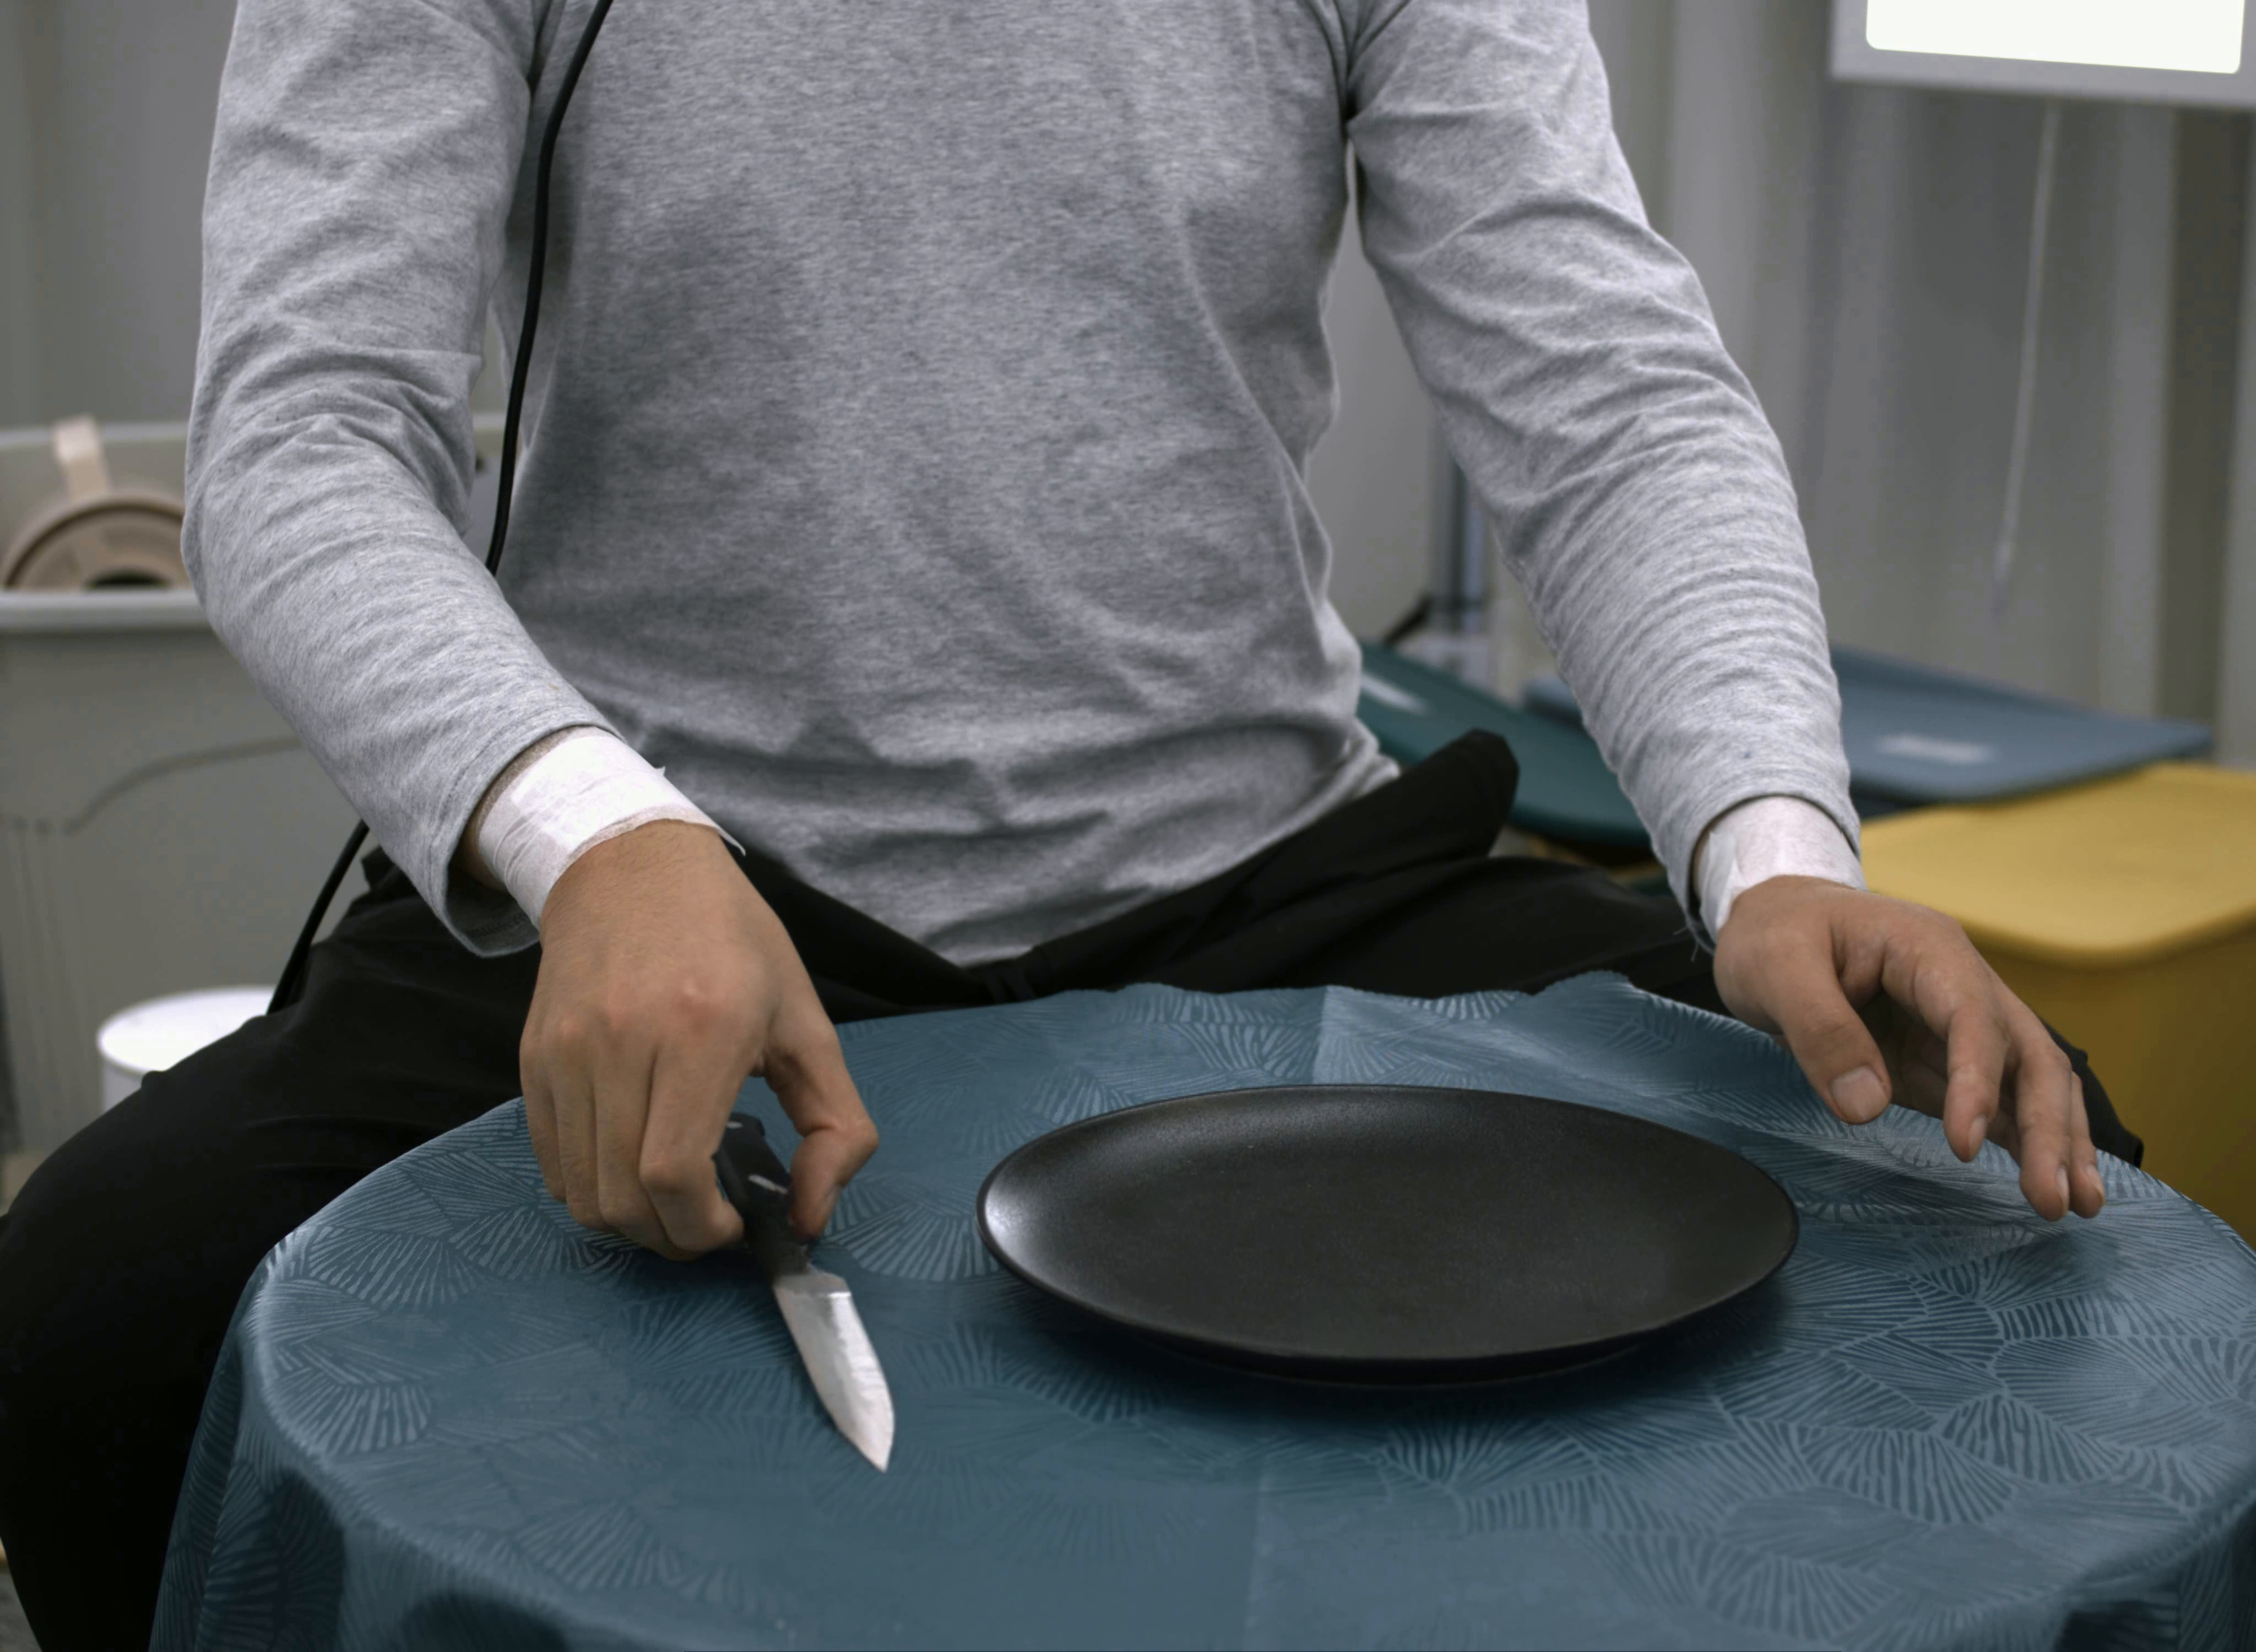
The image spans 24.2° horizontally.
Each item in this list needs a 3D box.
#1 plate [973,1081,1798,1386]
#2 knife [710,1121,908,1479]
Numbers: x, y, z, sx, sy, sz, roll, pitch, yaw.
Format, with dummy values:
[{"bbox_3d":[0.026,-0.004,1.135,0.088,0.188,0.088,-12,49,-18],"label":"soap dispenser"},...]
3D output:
[{"bbox_3d":[0.075,0.122,1.550,0.243,0.023,0.243,1,15,0],"label":"plate"},{"bbox_3d":[-0.093,0.135,1.509,0.024,0.016,0.235,-3,20,-14],"label":"knife"}]
